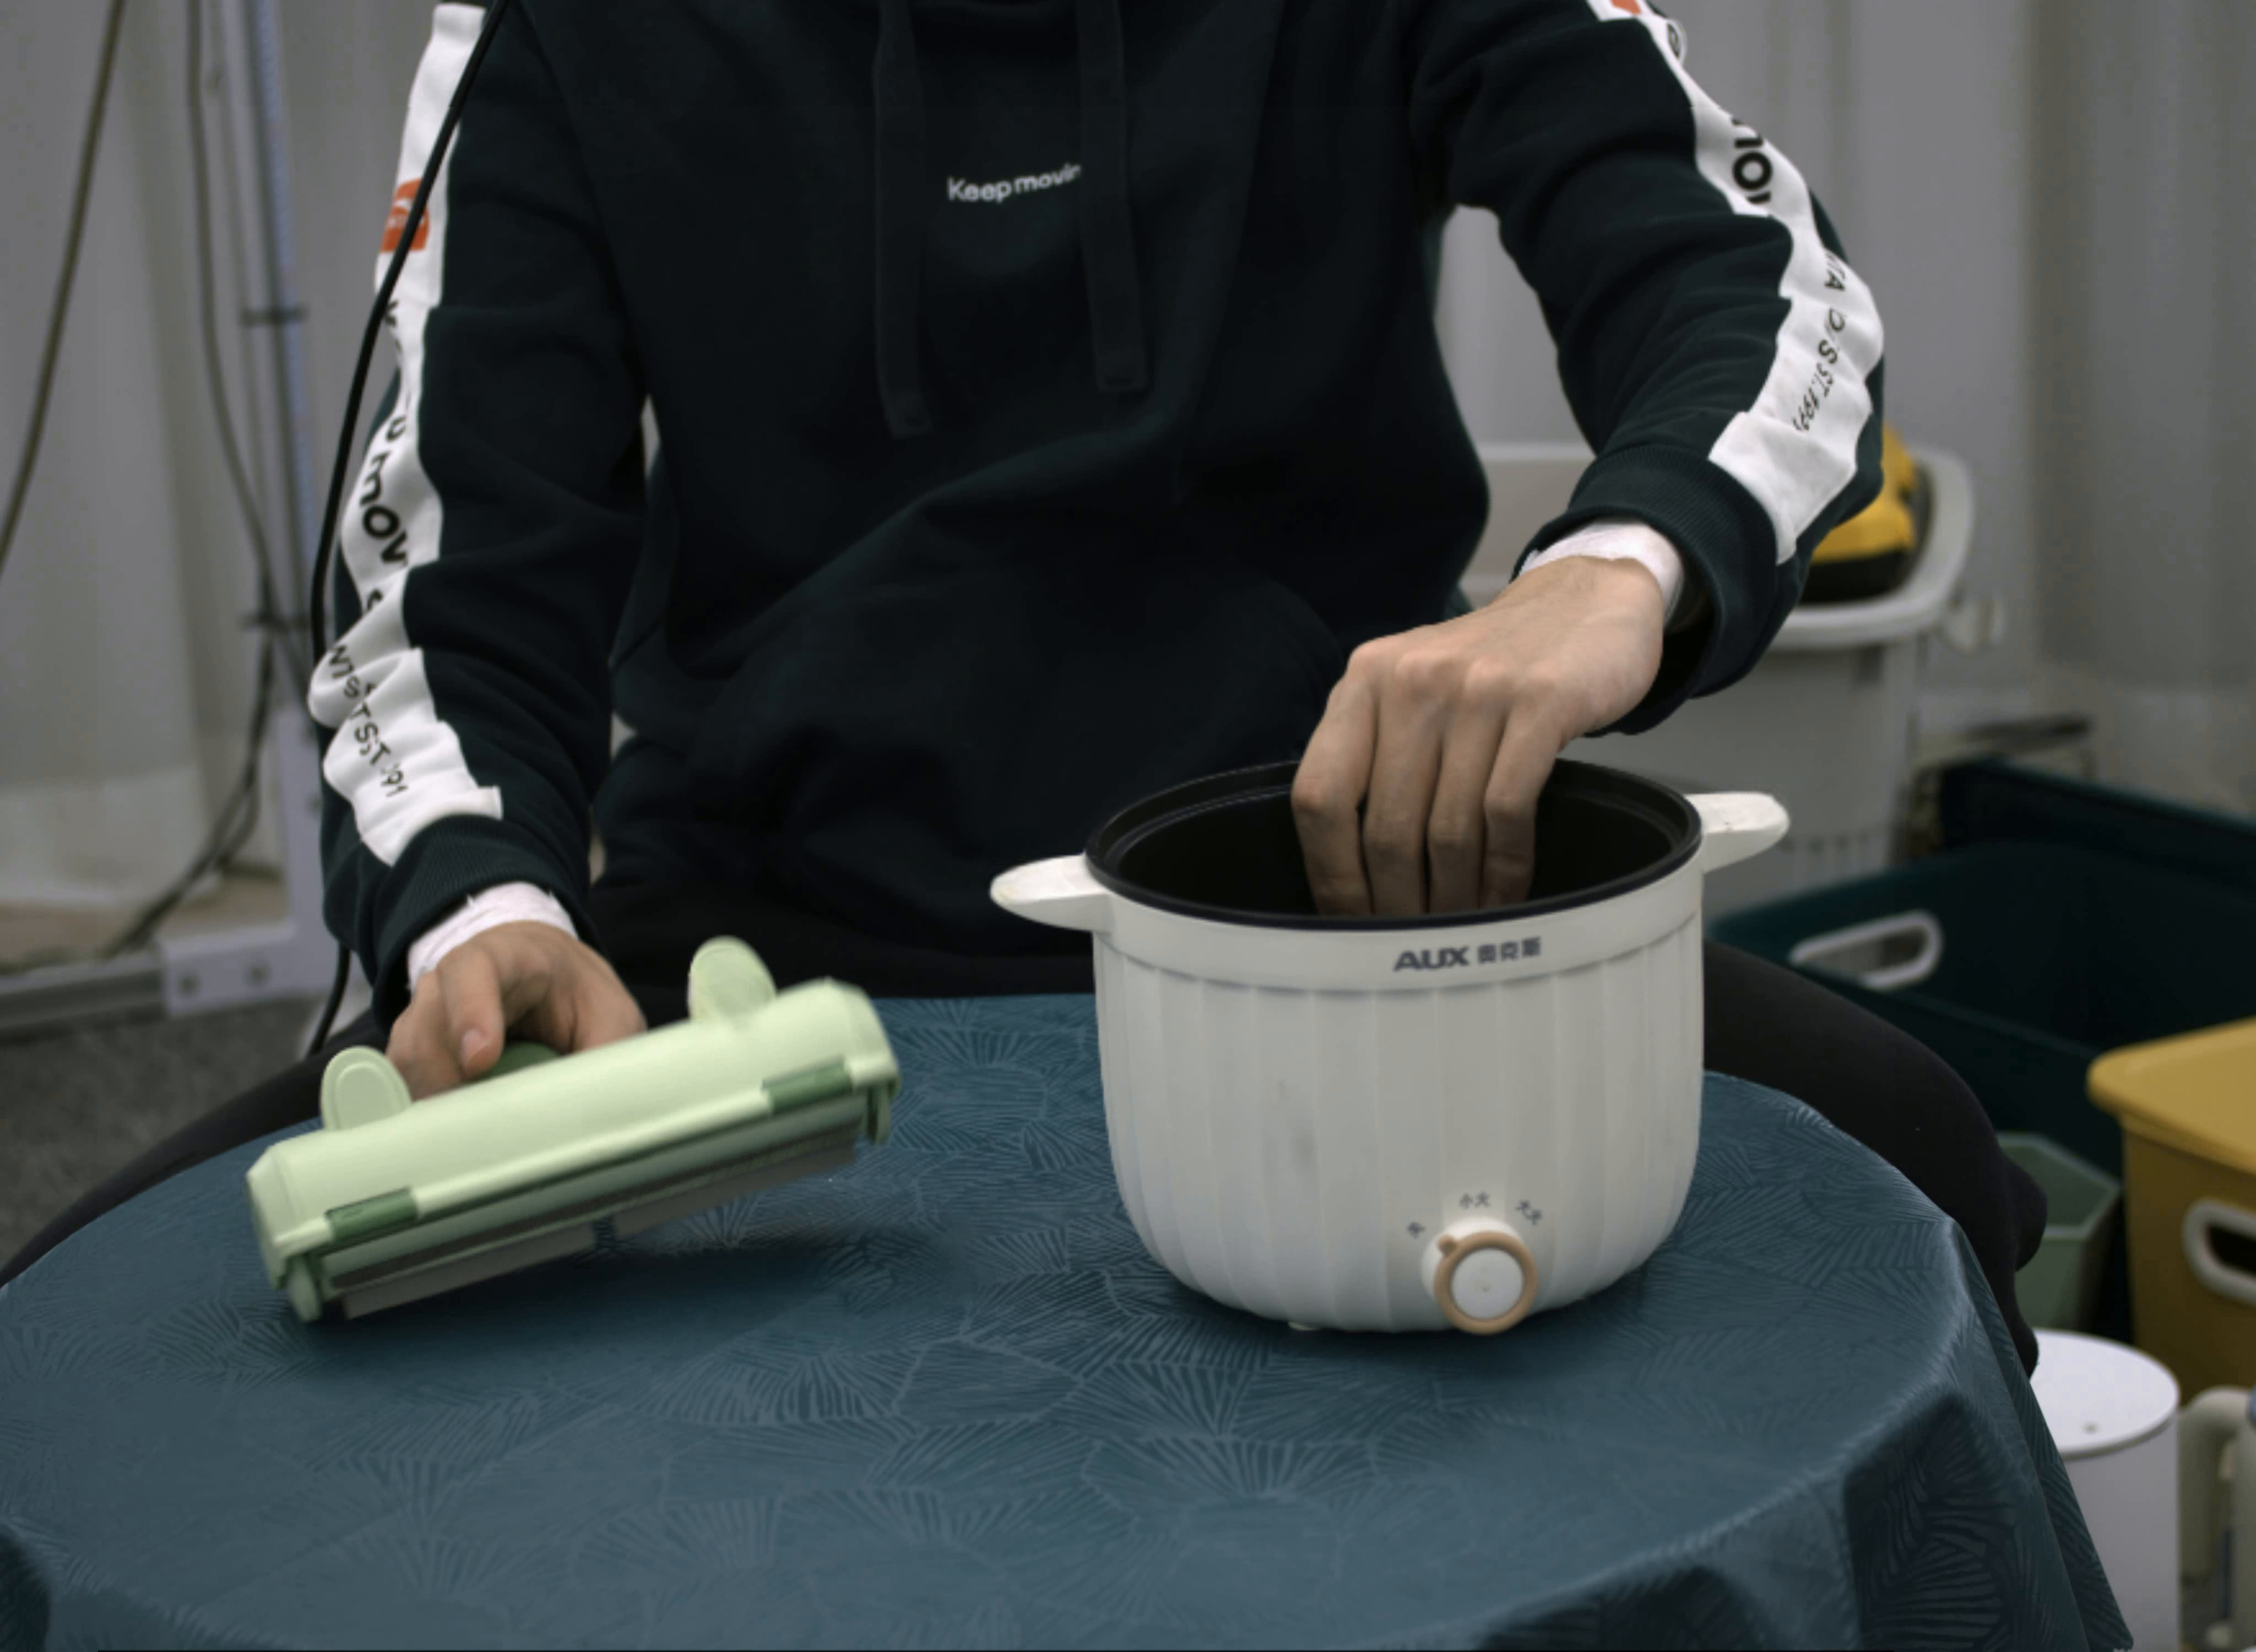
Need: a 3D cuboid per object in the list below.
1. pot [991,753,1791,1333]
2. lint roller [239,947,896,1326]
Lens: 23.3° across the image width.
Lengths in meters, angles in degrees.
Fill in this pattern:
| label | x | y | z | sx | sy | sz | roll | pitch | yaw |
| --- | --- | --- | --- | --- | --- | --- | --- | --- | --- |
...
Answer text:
| label | x | y | z | sx | sy | sz | roll | pitch | yaw |
| --- | --- | --- | --- | --- | --- | --- | --- | --- | --- |
| pot | 0.083 | 0.067 | 1.611 | 0.239 | 0.142 | 0.192 | -7 | 12 | -9 |
| lint roller | -0.187 | 0.078 | 1.699 | 0.198 | 0.081 | 0.185 | -16 | 21 | -14 |
